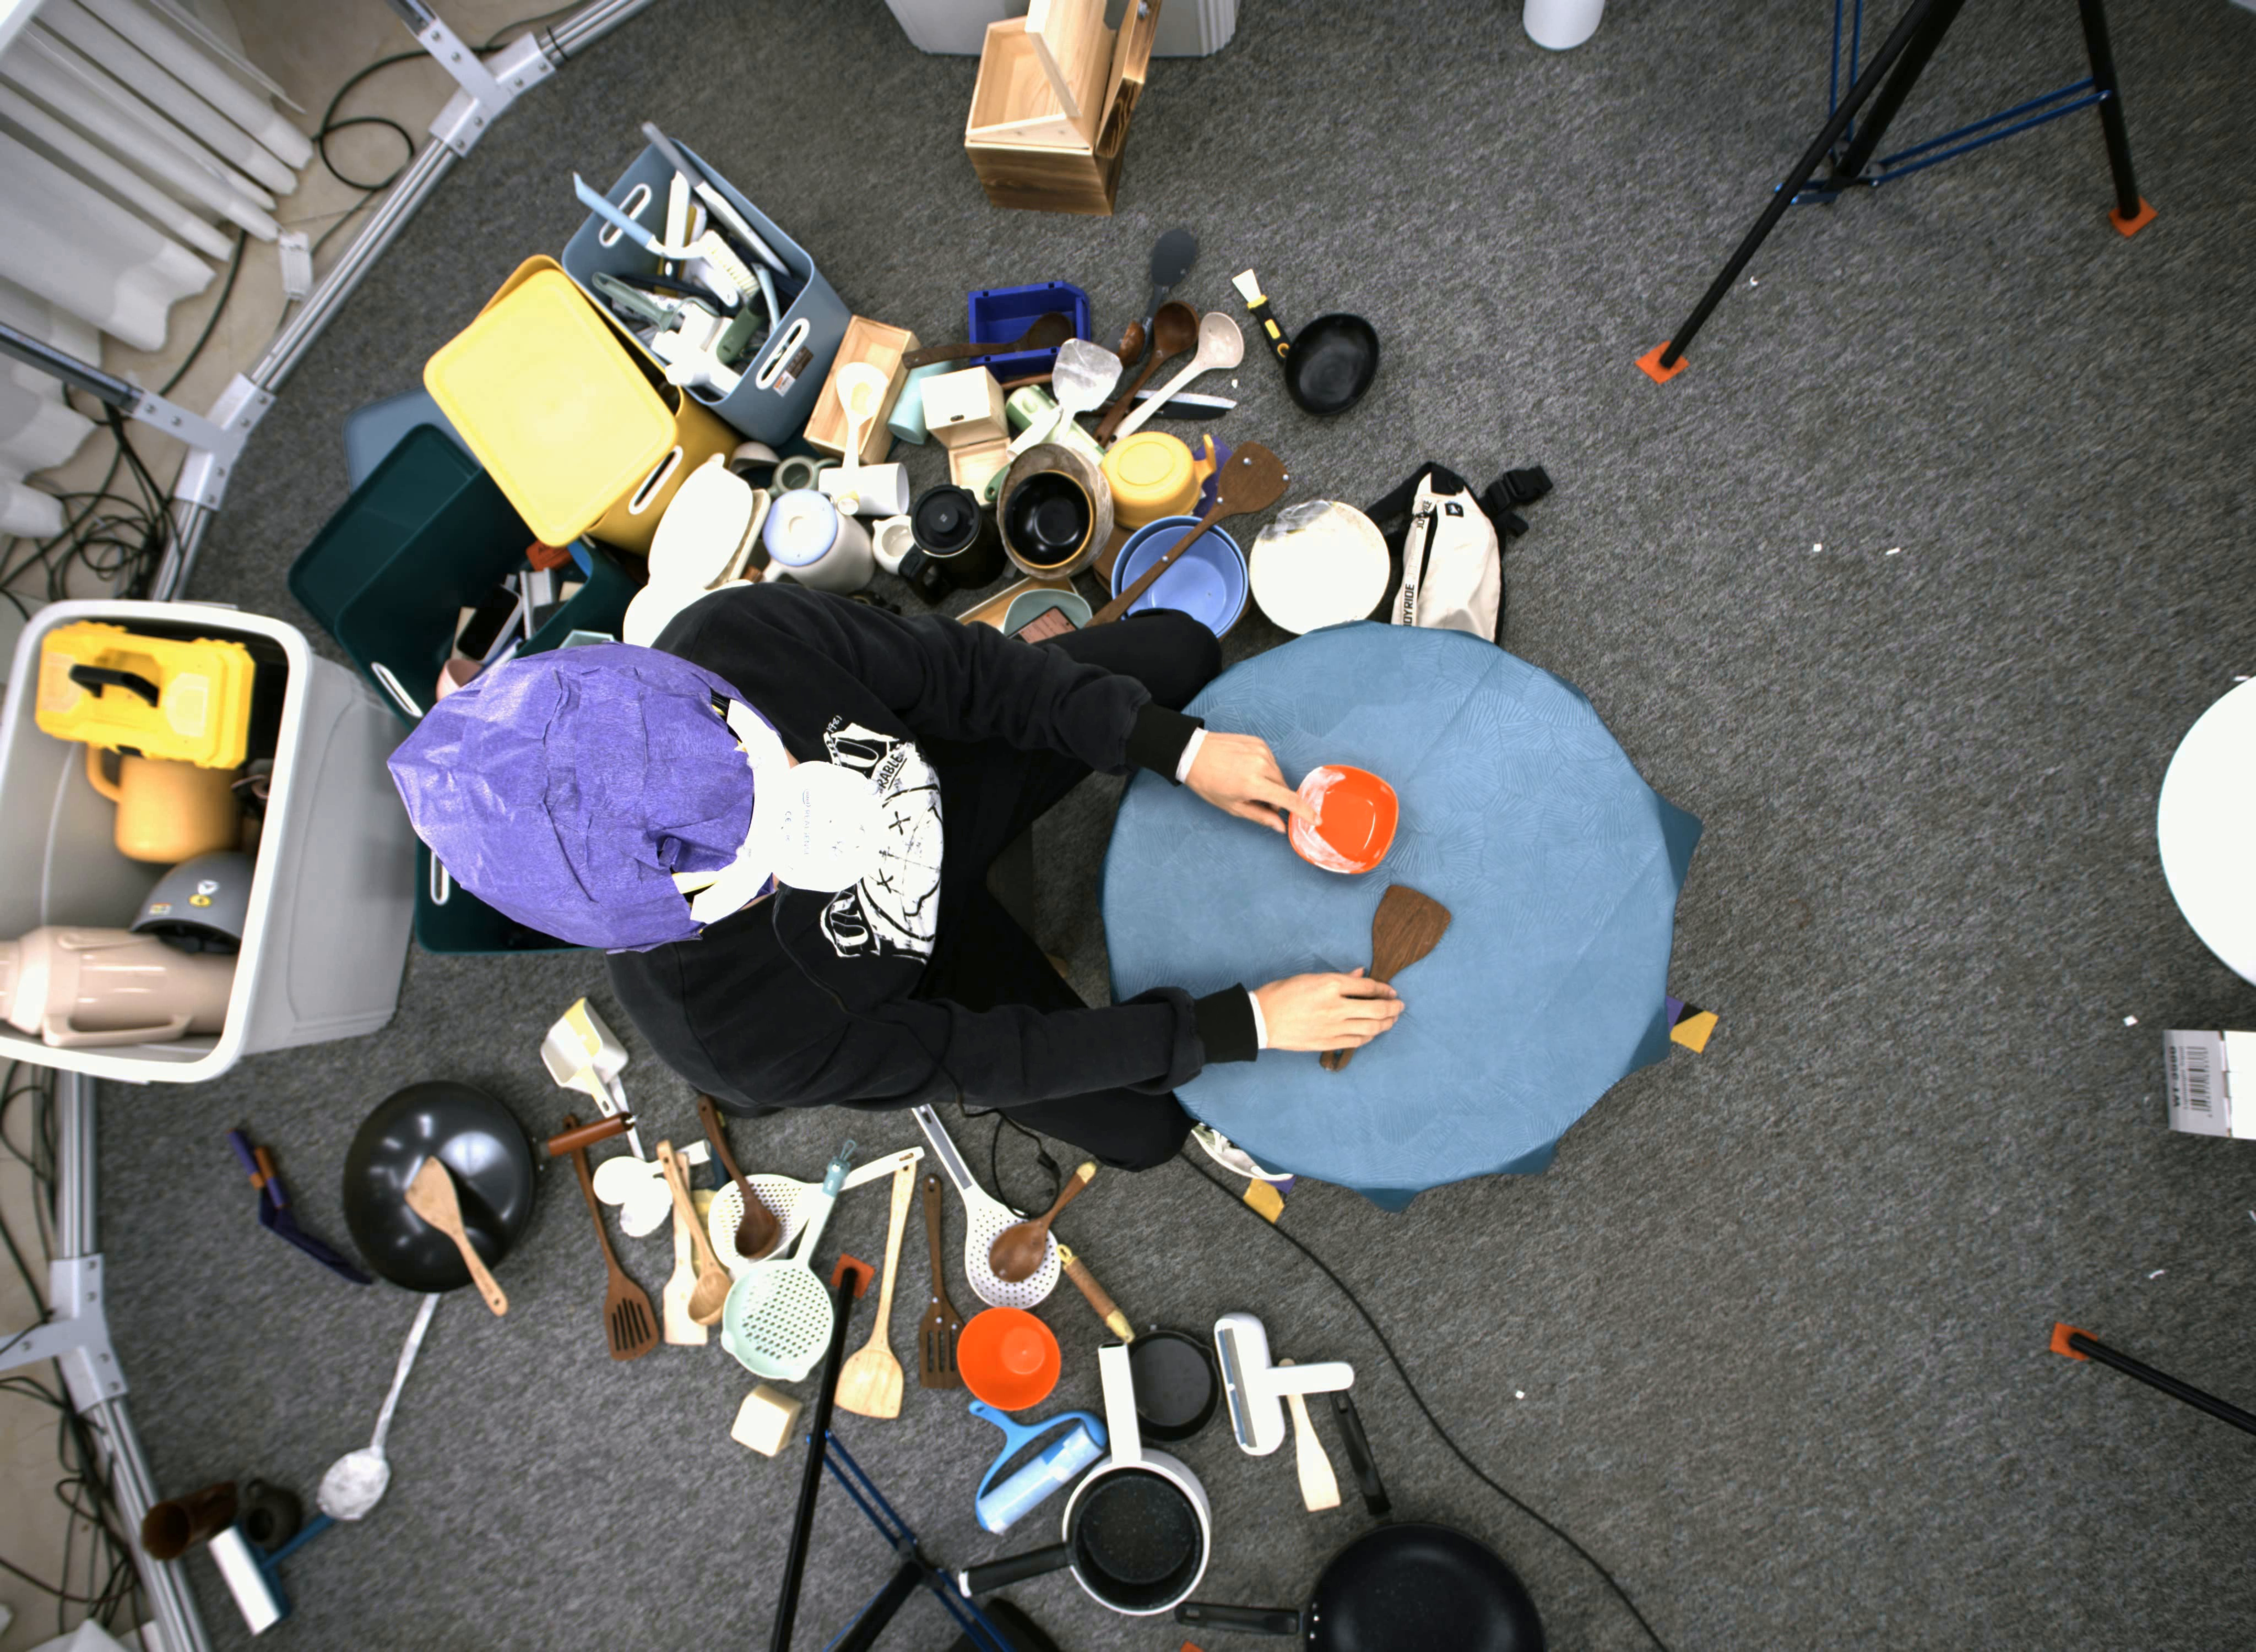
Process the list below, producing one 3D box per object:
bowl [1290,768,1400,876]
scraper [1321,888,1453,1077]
[{"bbox_3d":[0.228,-0.003,1.453,0.119,0.051,0.118,-1,86,9],"label":"bowl"},{"bbox_3d":[0.263,0.167,1.455,0.075,0.011,0.211,29,92,12],"label":"scraper"}]
